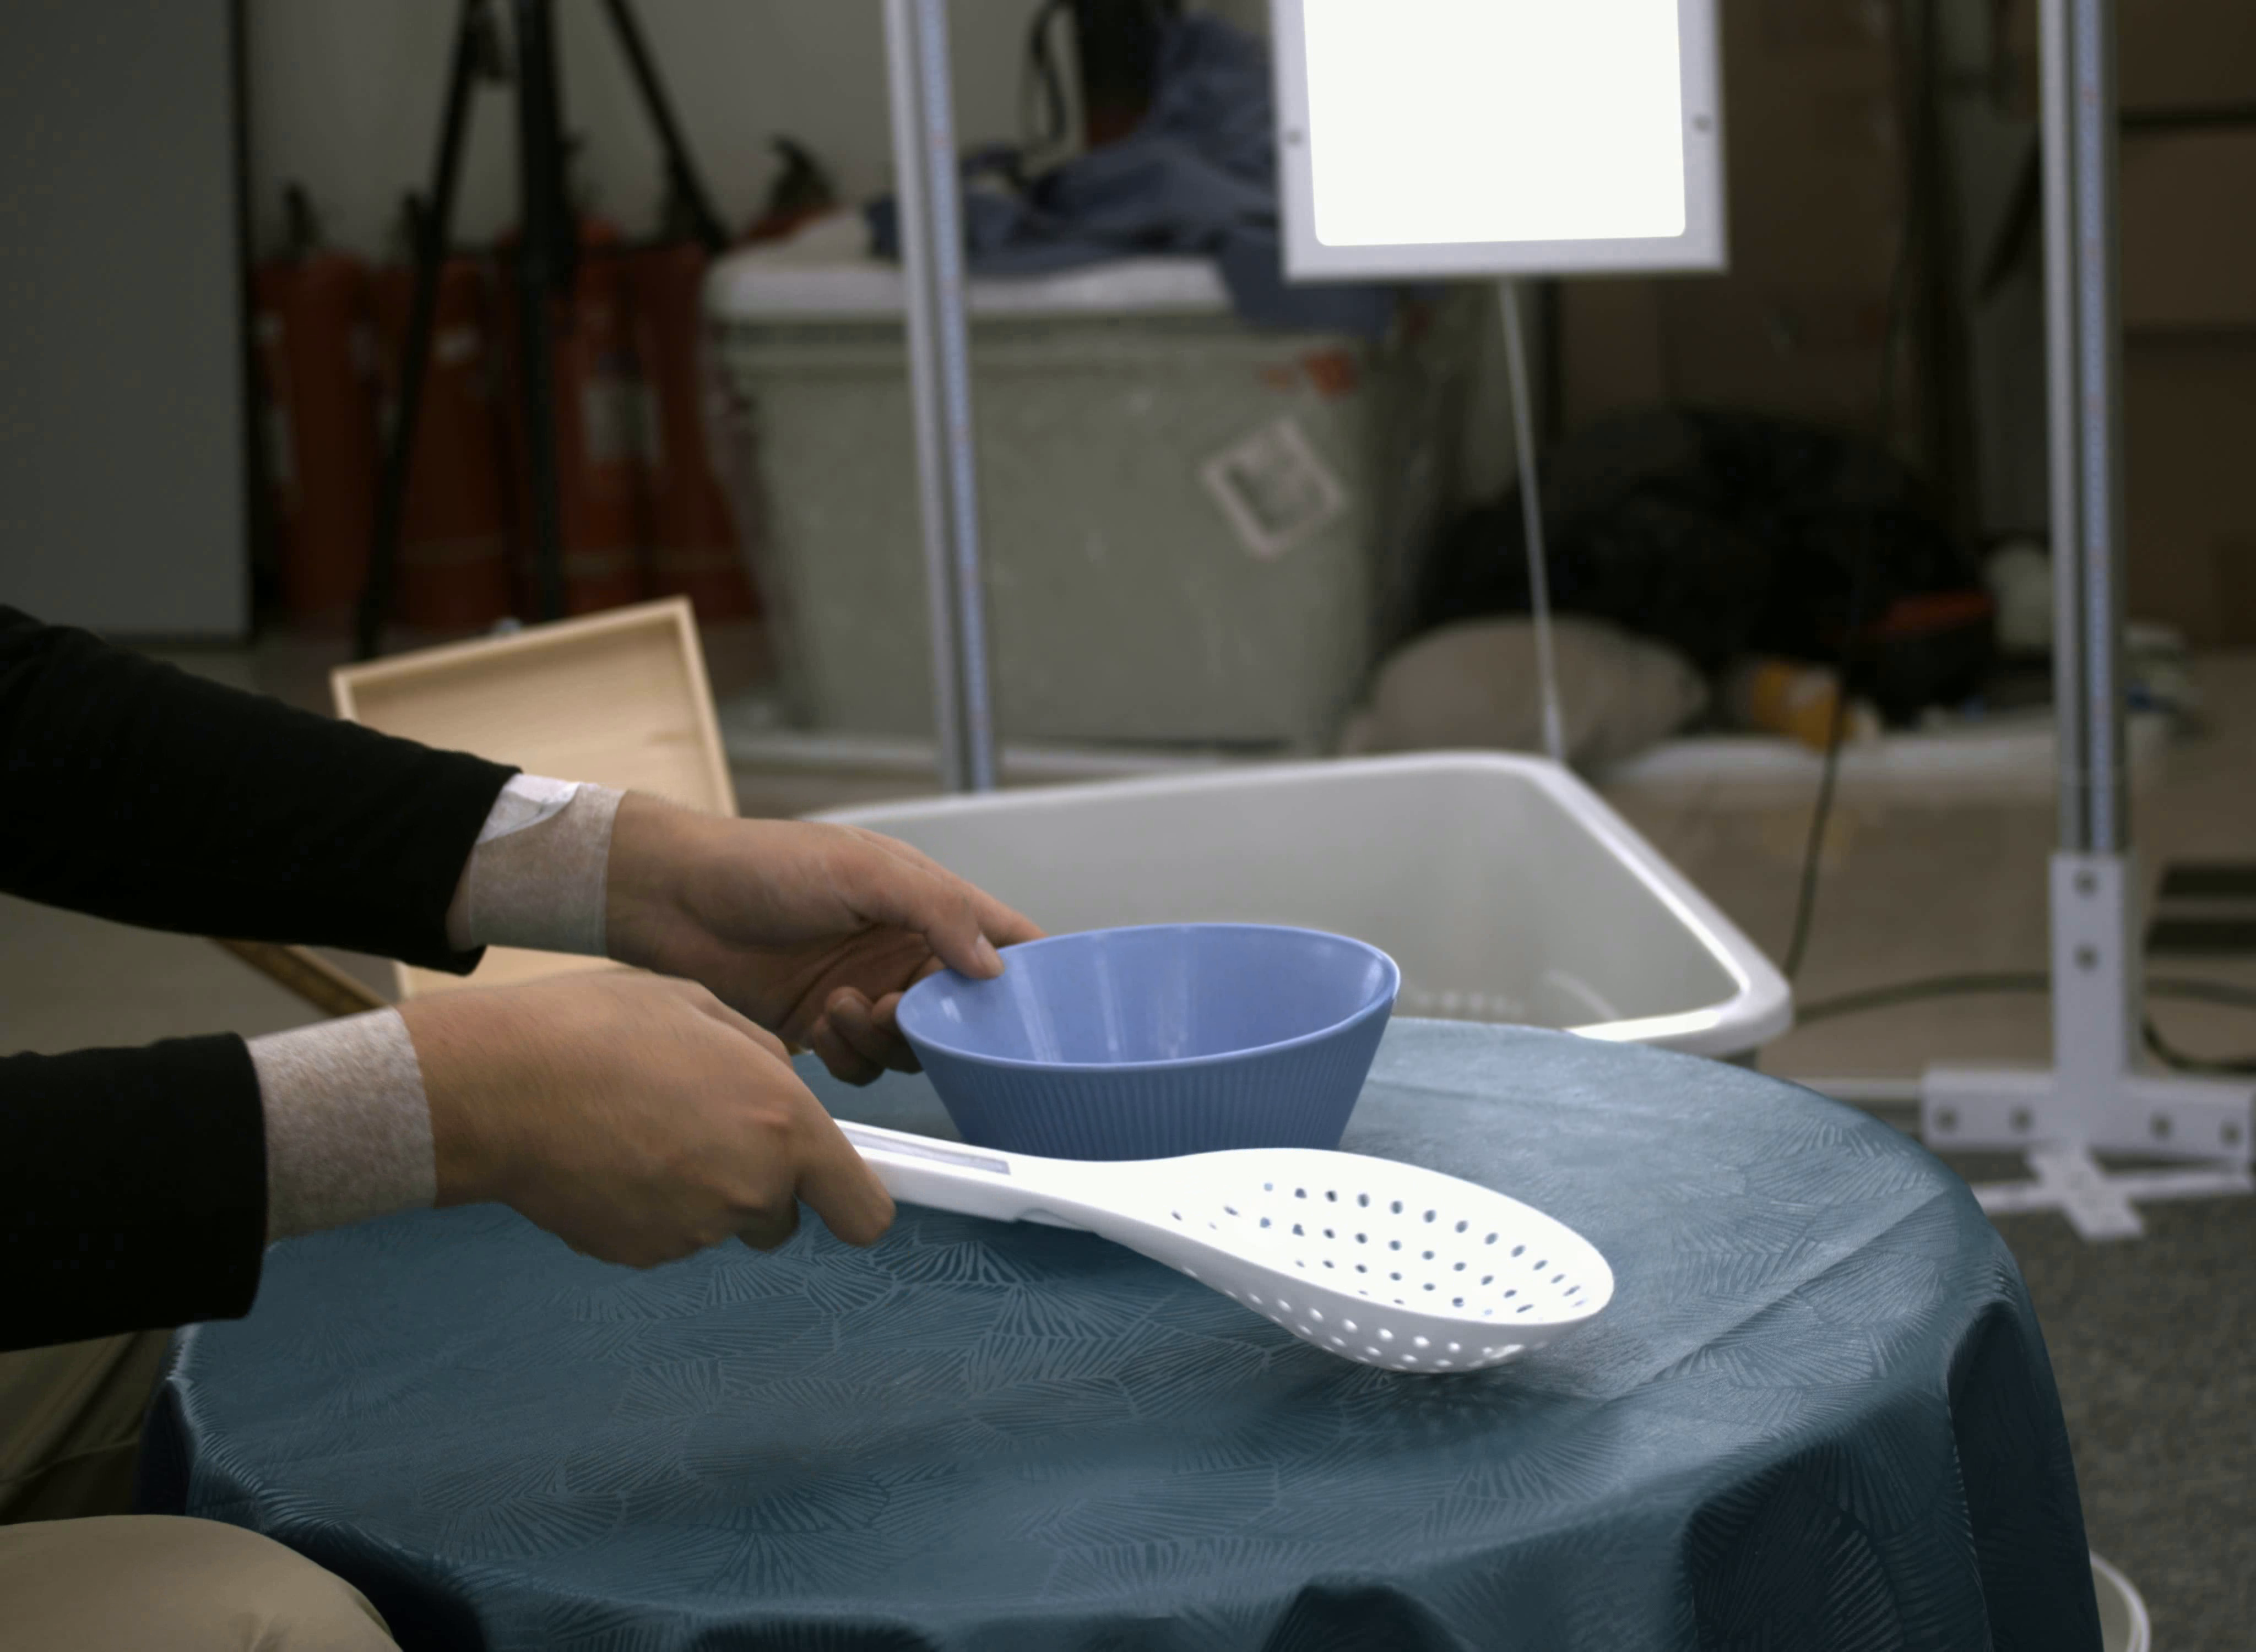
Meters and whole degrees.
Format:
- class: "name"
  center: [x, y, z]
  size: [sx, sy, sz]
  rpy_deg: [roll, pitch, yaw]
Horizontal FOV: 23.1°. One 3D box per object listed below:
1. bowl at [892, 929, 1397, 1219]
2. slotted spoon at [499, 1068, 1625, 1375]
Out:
- class: "bowl"
  center: [0.008, 0.088, 1.905]
  size: [0.175, 0.070, 0.176]
  rpy_deg: [-6, 13, 0]
- class: "slotted spoon"
  center: [-0.019, 0.113, 1.682]
  size: [0.346, 0.046, 0.136]
  rpy_deg: [14, 17, -8]
